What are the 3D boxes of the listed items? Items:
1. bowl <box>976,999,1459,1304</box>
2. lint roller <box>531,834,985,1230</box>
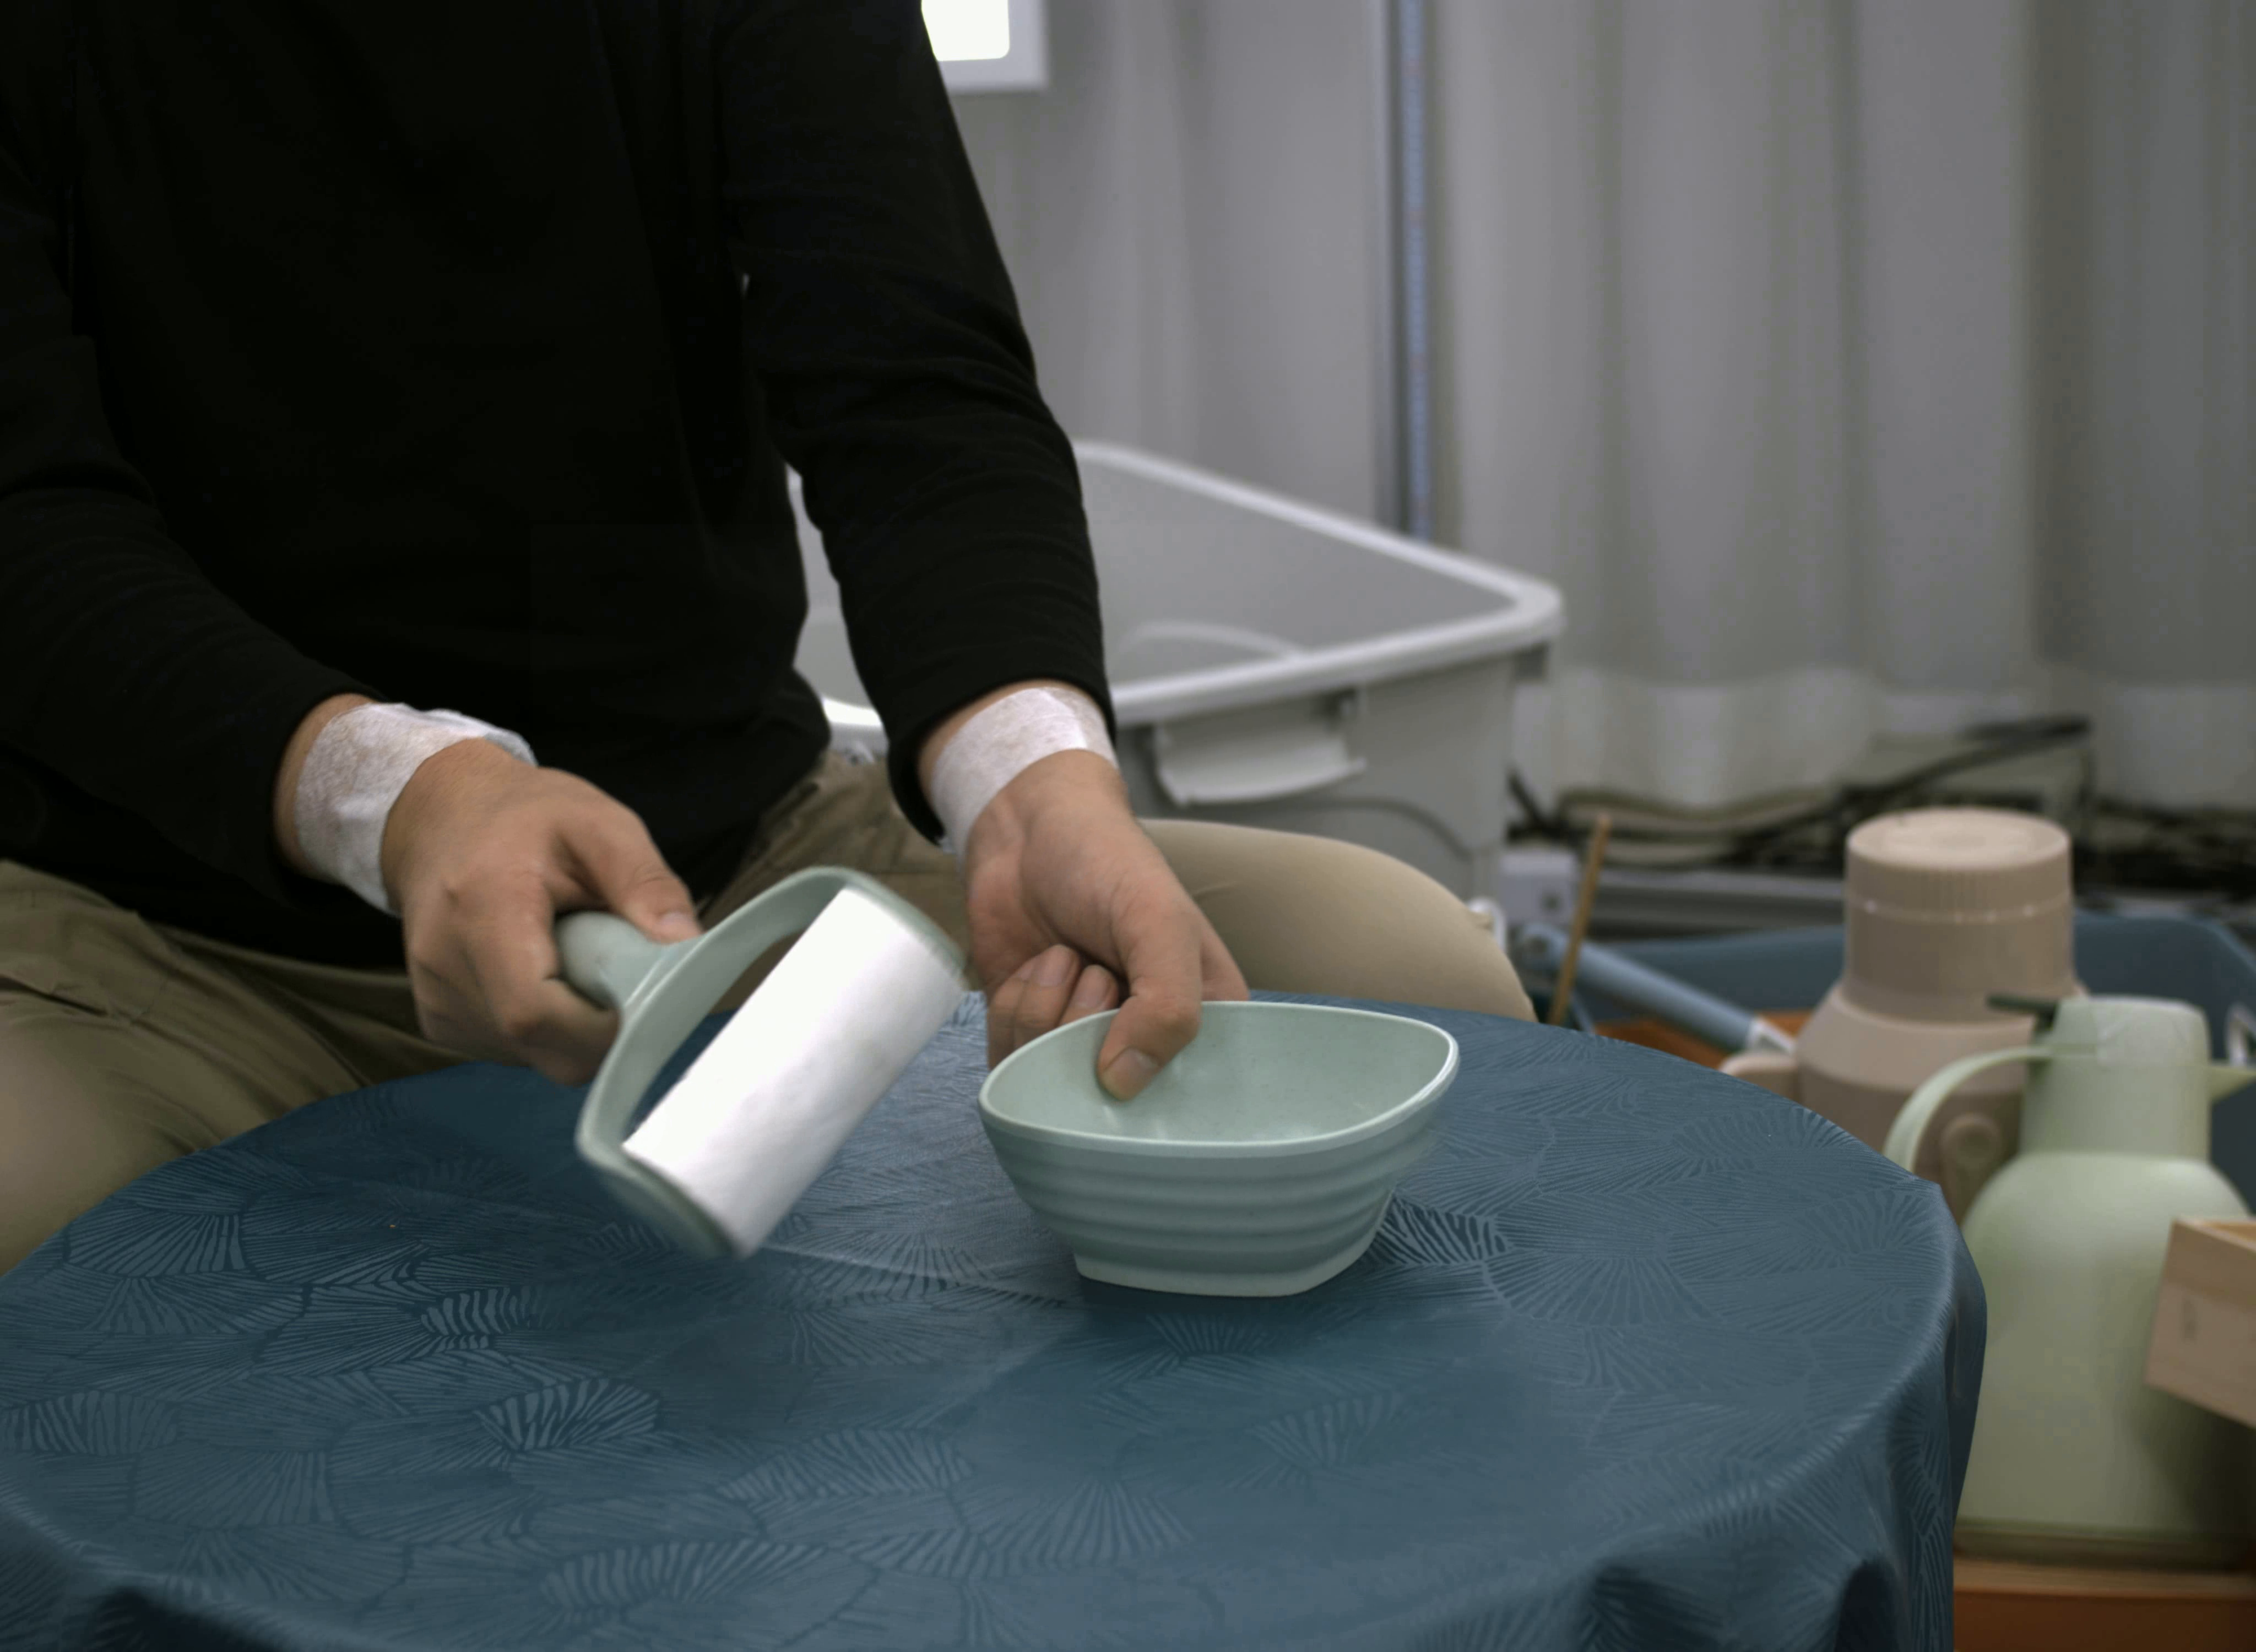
[{"bbox_3d":[0.028,0.101,1.651,0.151,0.058,0.152,-2,16,0],"label":"bowl"},{"bbox_3d":[-0.130,0.046,1.619,0.117,0.048,0.199,-52,35,-13],"label":"lint roller"}]
